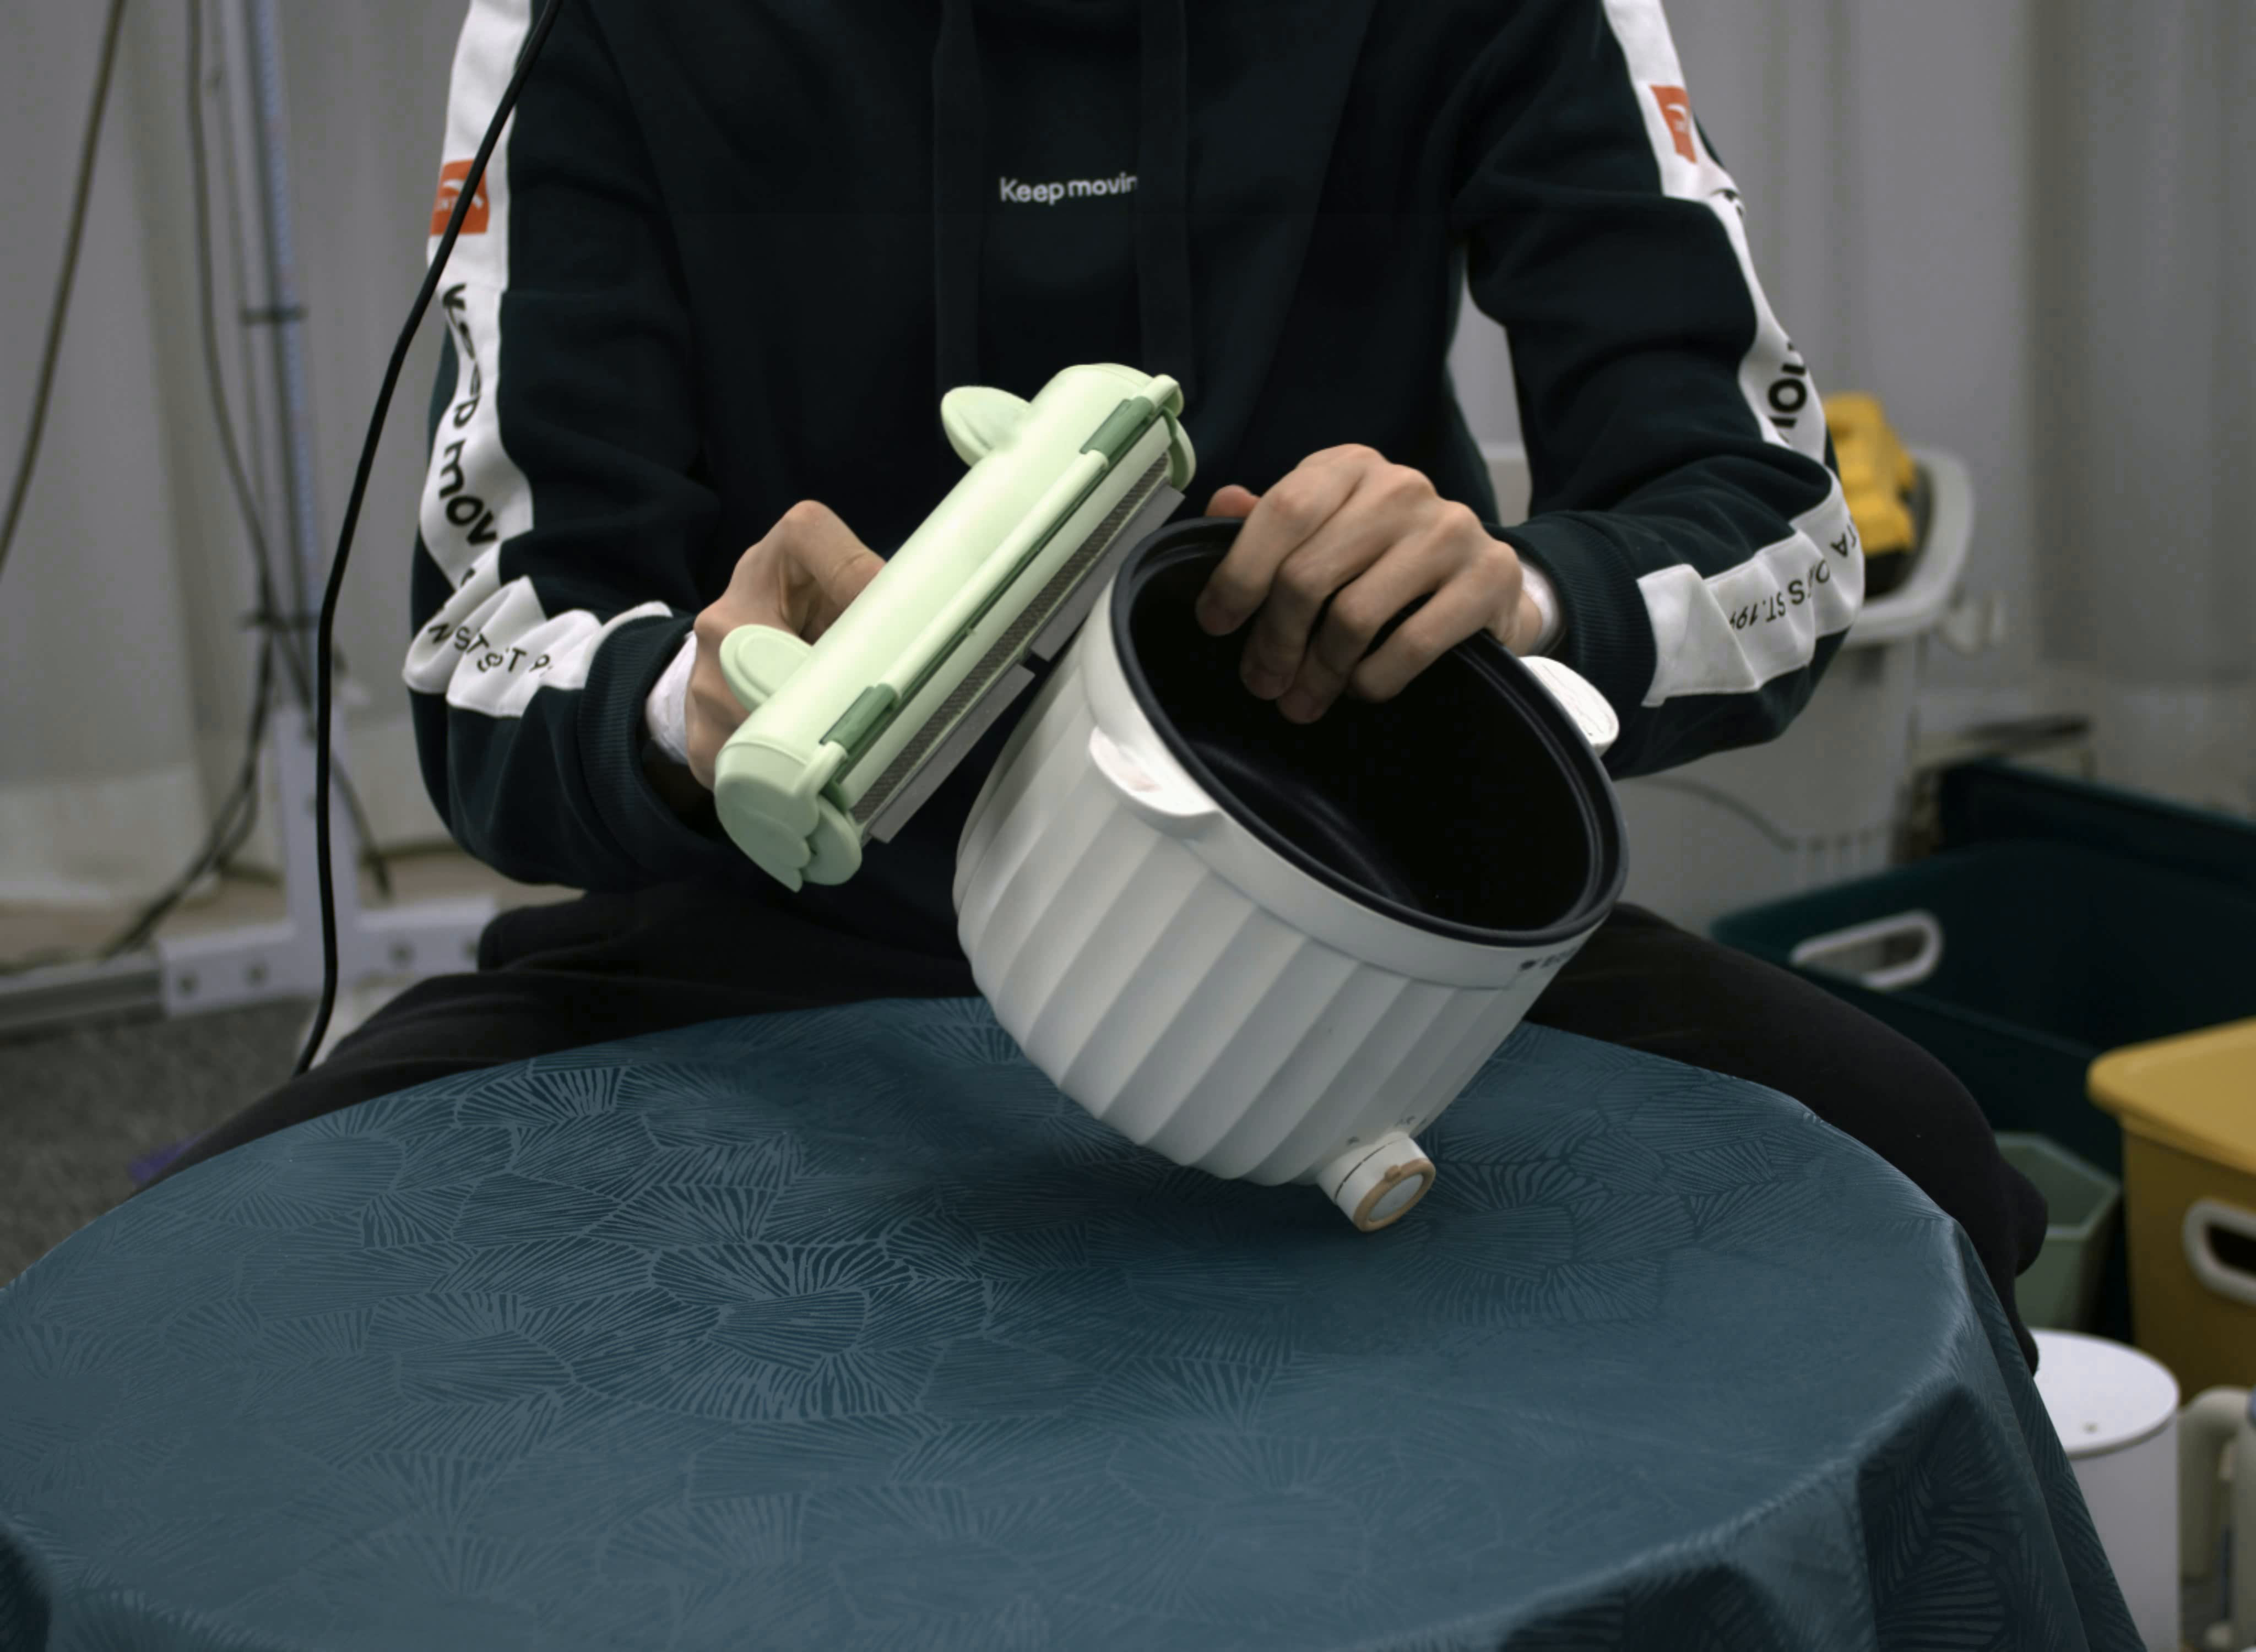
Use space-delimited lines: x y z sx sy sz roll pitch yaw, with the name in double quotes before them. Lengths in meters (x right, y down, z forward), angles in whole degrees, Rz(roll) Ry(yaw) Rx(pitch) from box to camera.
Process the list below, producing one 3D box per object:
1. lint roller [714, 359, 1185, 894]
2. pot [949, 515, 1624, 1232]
"lint roller" -0.087 -0.060 1.706 0.183 0.081 0.200 -16 30 55
"pot" 0.044 0.018 1.680 0.239 0.141 0.192 -11 49 -48
